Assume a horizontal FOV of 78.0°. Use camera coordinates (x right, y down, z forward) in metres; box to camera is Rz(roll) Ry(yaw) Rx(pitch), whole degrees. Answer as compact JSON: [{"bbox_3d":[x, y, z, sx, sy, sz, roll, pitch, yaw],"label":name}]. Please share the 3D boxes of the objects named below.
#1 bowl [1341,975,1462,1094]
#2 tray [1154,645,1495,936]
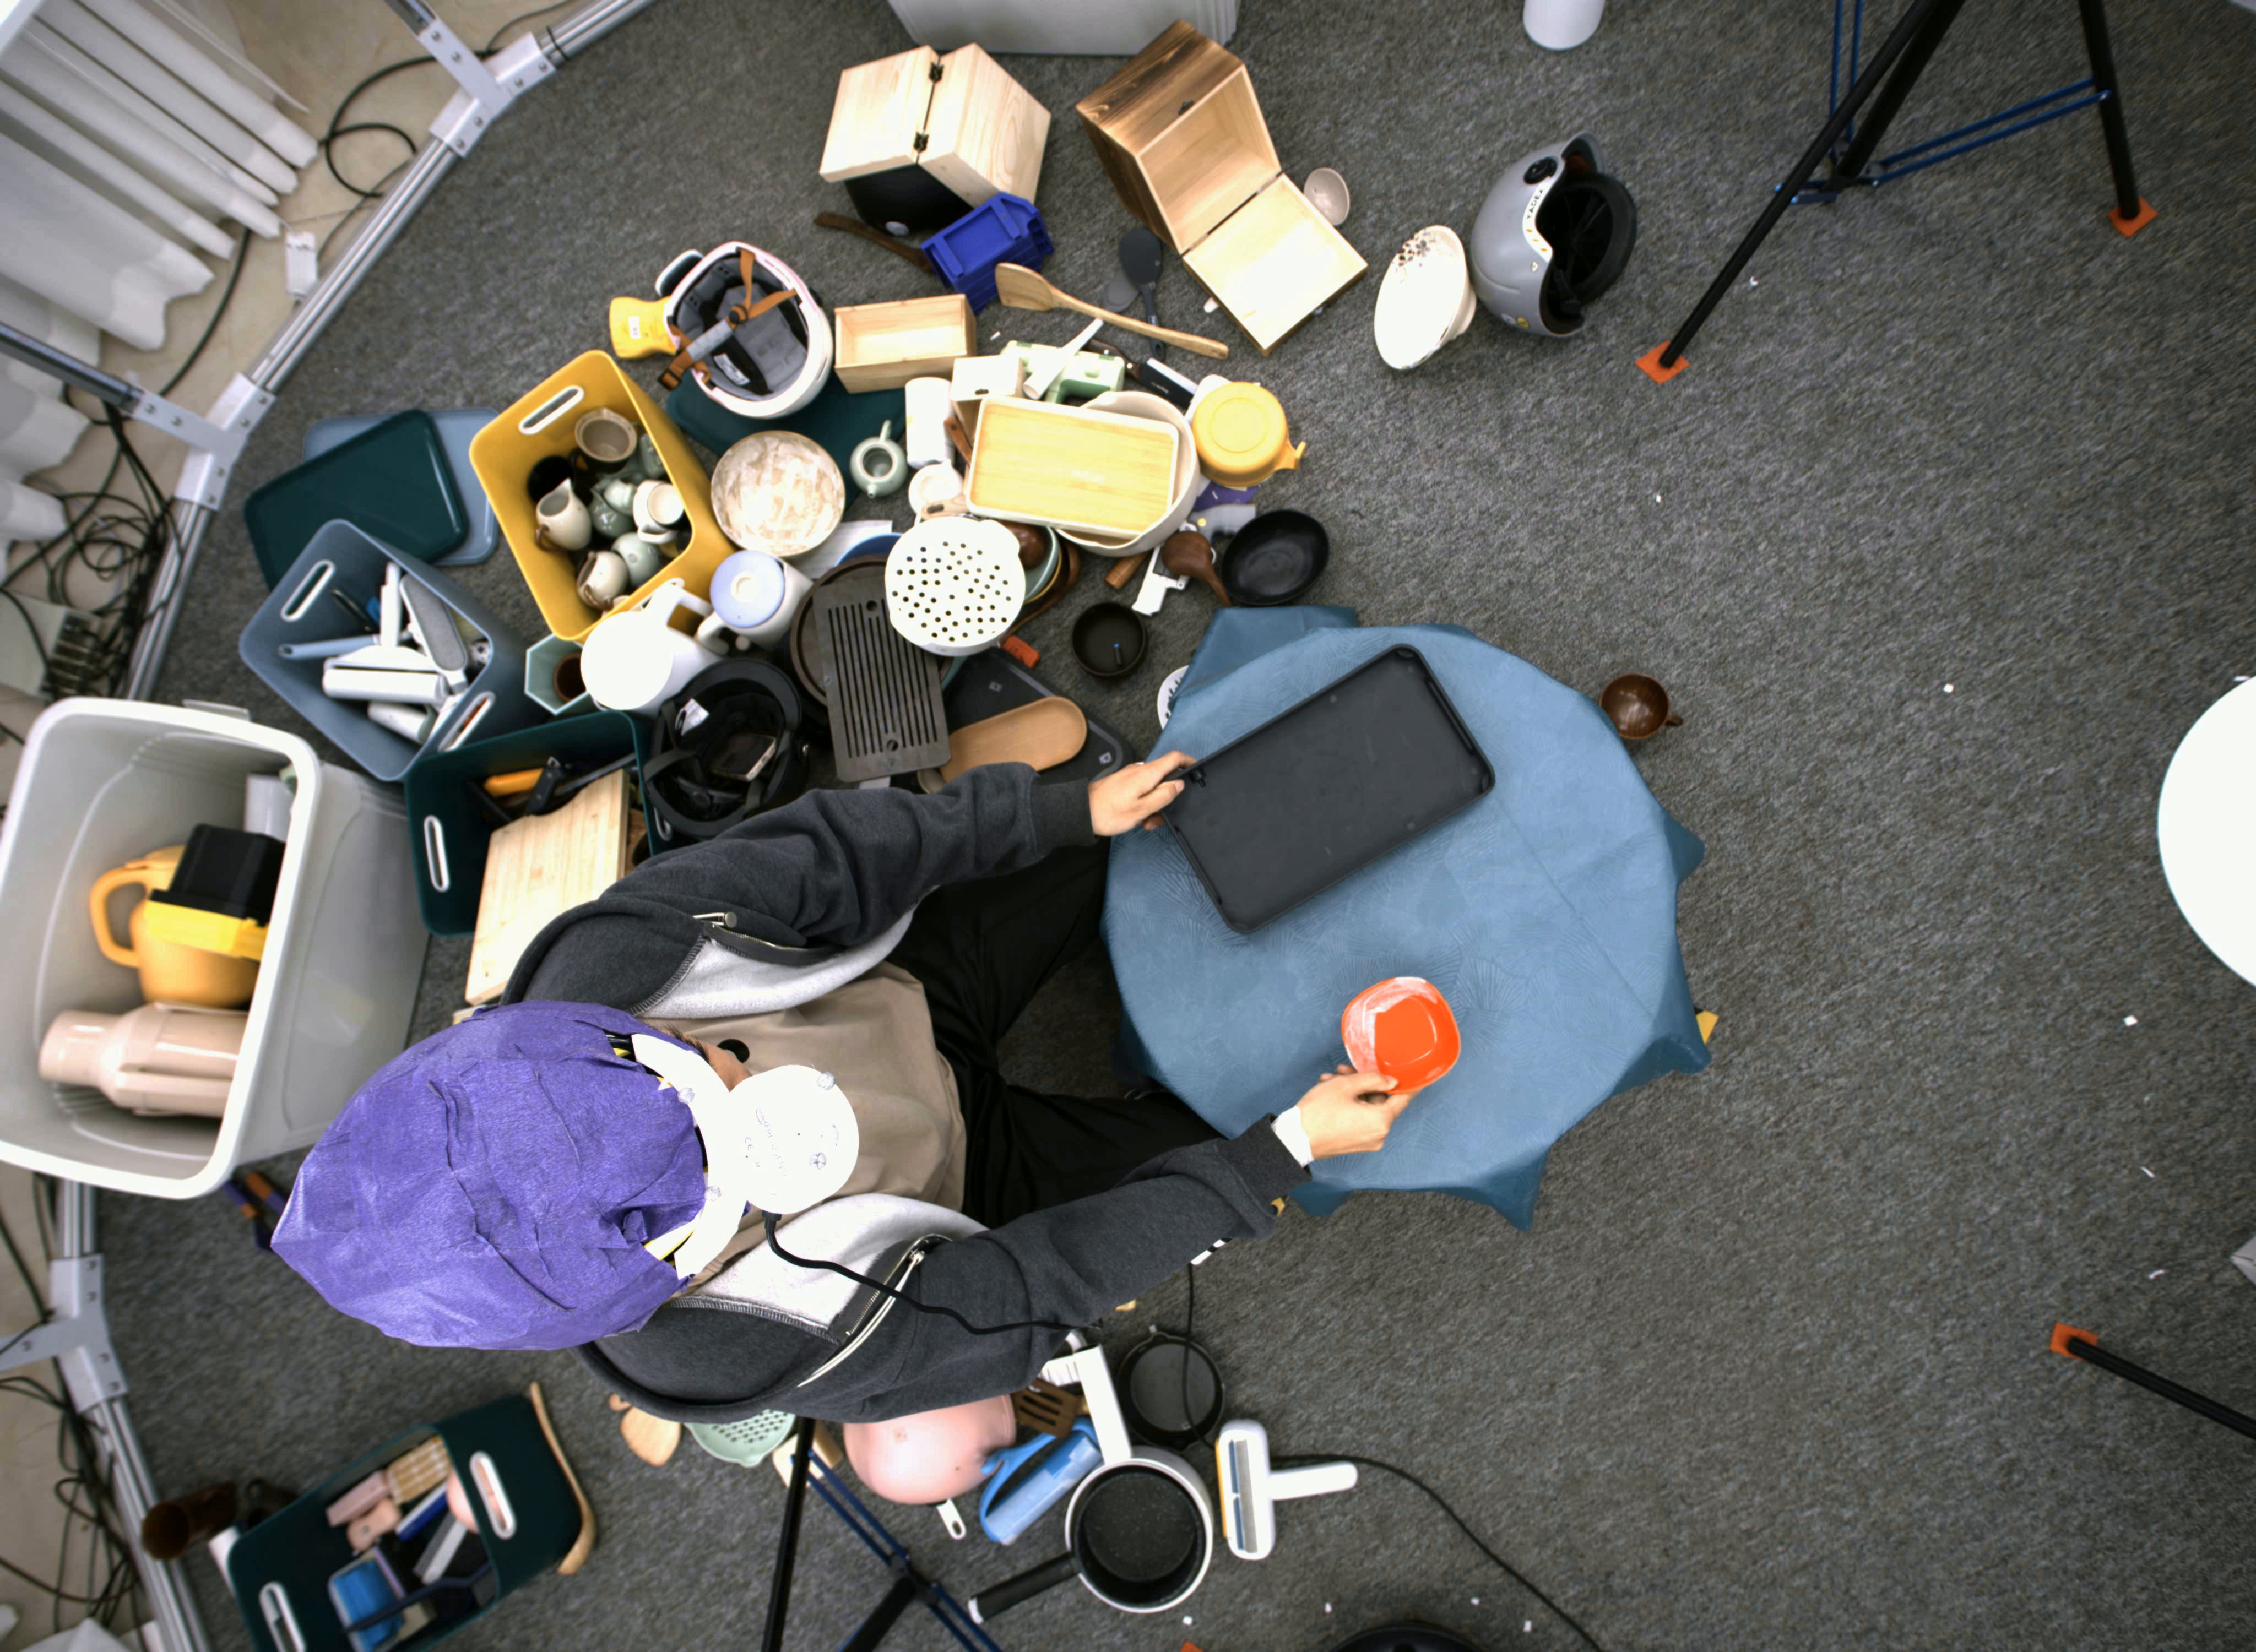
[{"bbox_3d":[0.272,0.203,1.376,0.119,0.051,0.119,0,90,13],"label":"bowl"},{"bbox_3d":[0.202,-0.037,1.433,0.319,0.037,0.183,-31,84,4],"label":"tray"}]
